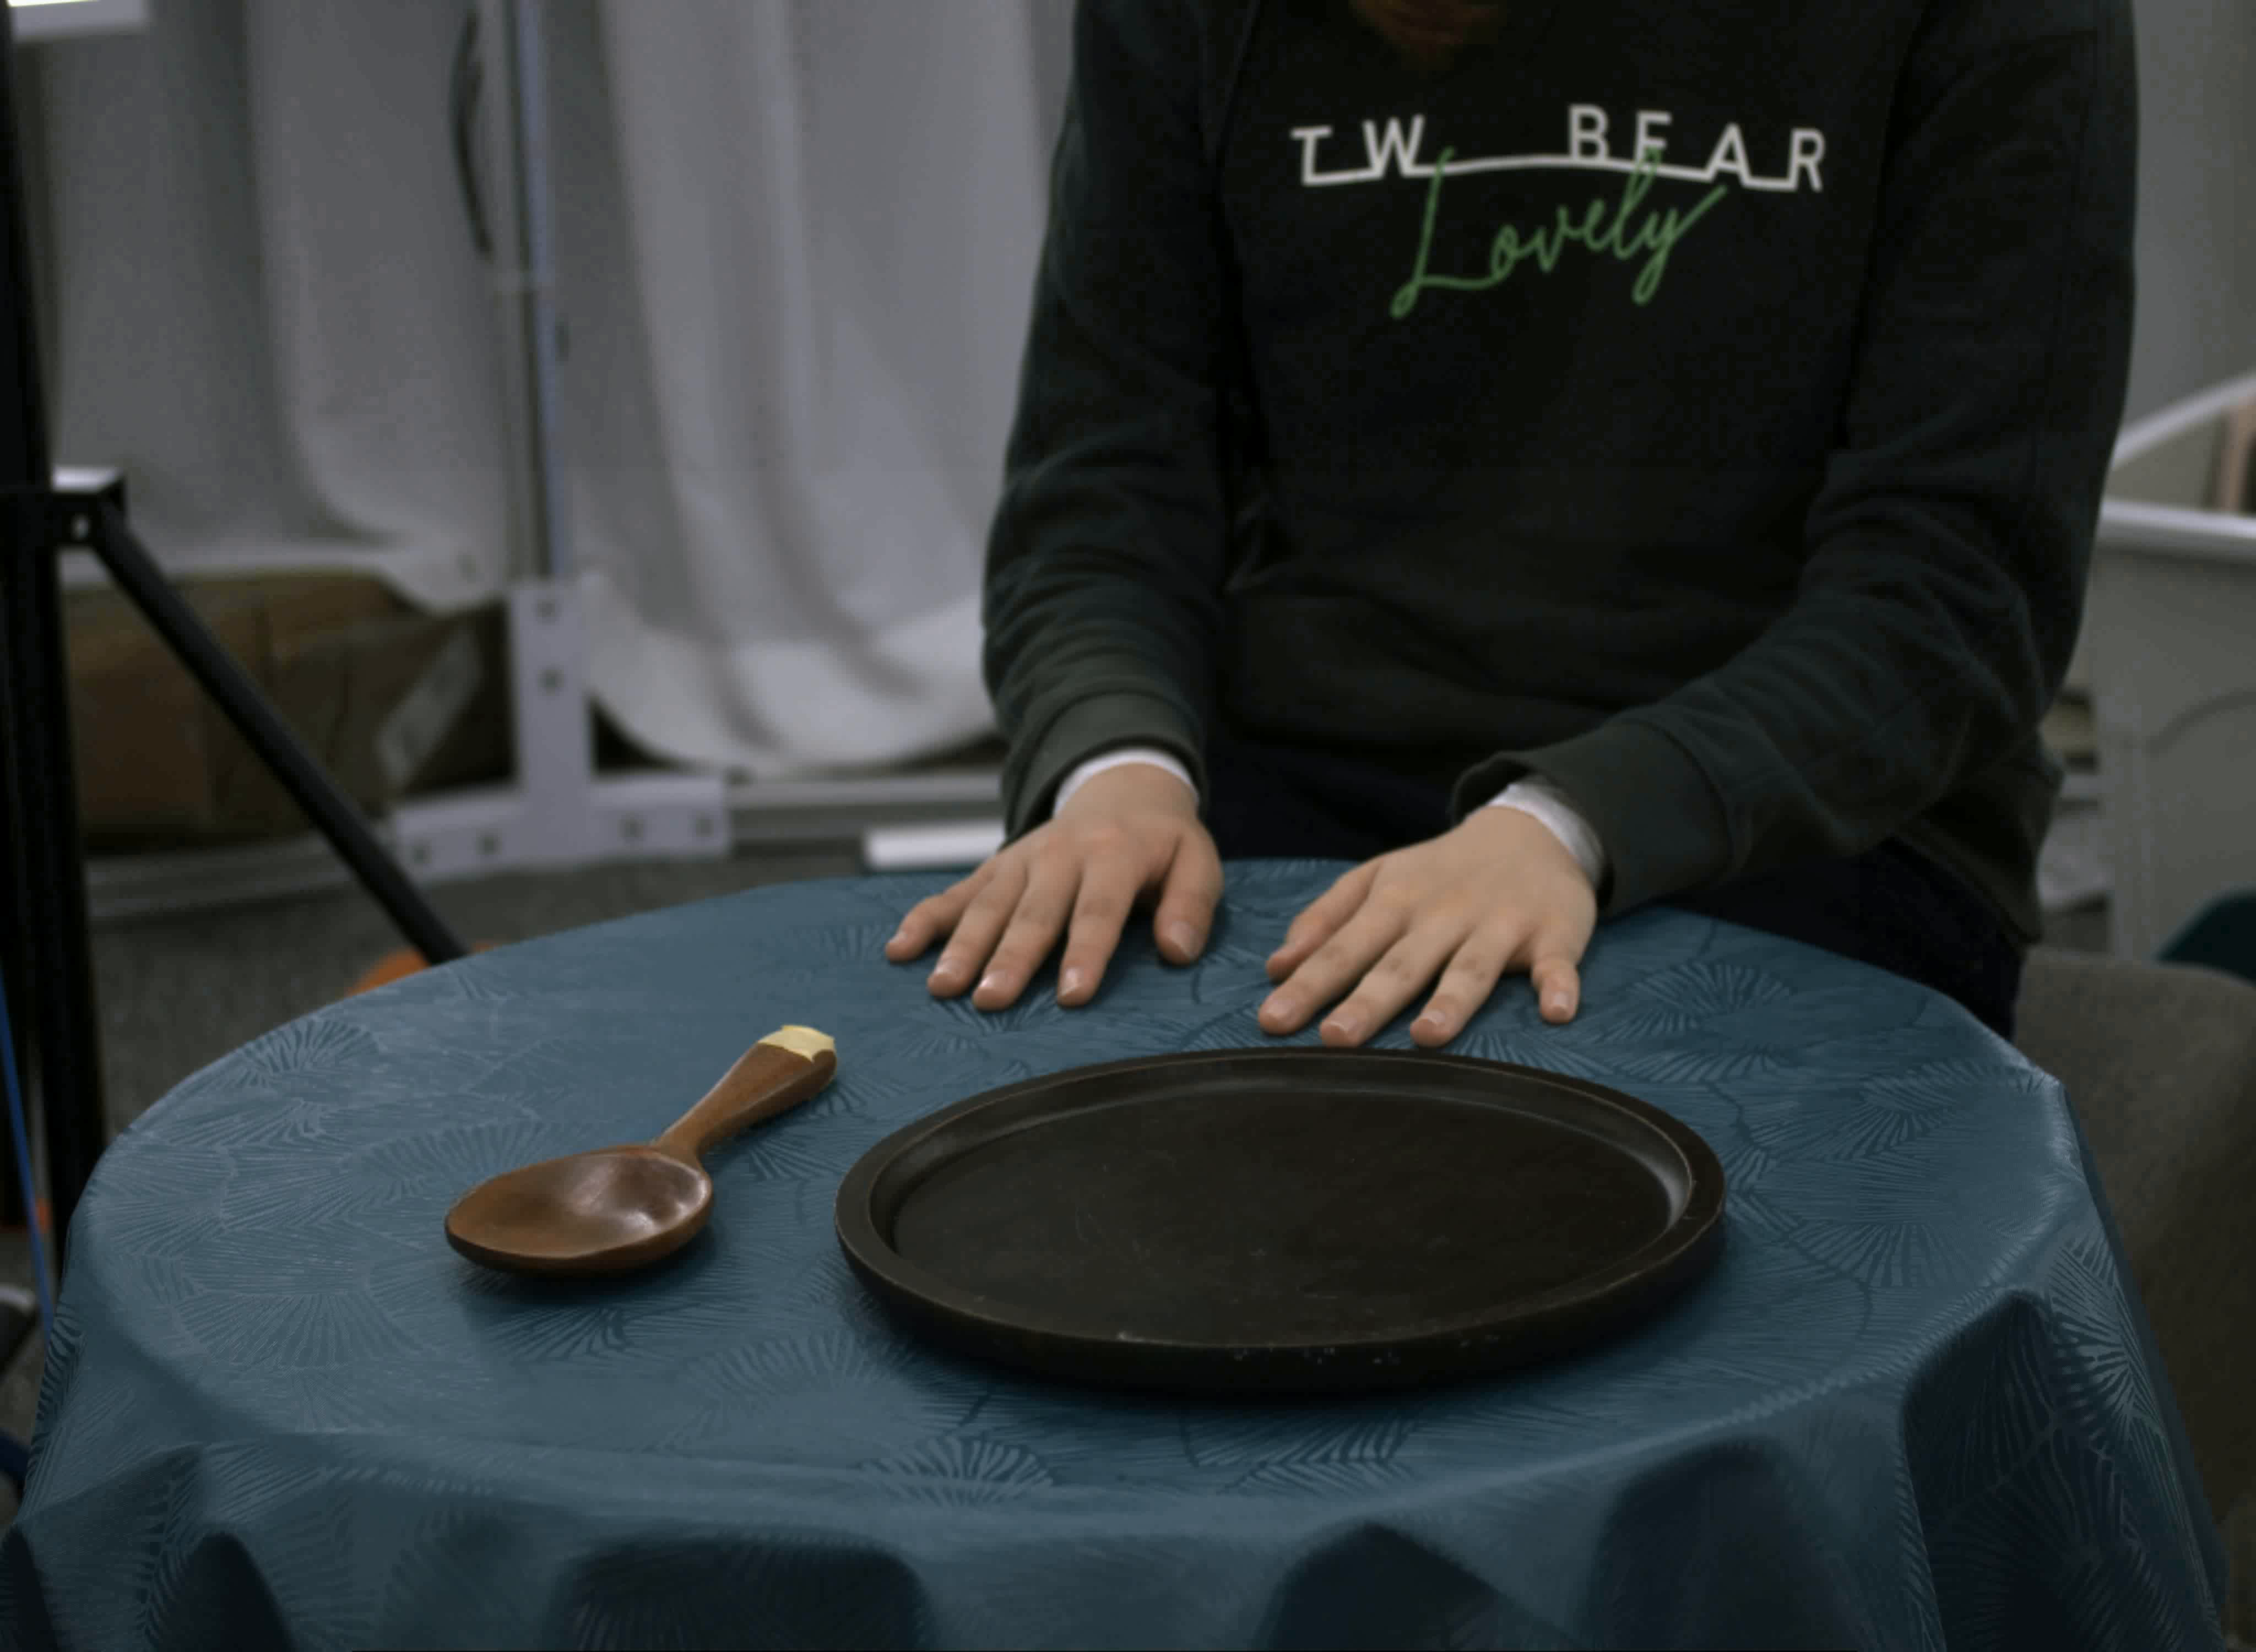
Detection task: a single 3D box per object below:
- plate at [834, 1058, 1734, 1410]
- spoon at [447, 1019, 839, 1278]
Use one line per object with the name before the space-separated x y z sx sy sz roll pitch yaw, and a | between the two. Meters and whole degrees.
plate | 0.044 0.112 1.497 0.253 0.029 0.256 -2 17 -1
spoon | -0.134 0.097 1.586 0.076 0.017 0.213 3 17 20
